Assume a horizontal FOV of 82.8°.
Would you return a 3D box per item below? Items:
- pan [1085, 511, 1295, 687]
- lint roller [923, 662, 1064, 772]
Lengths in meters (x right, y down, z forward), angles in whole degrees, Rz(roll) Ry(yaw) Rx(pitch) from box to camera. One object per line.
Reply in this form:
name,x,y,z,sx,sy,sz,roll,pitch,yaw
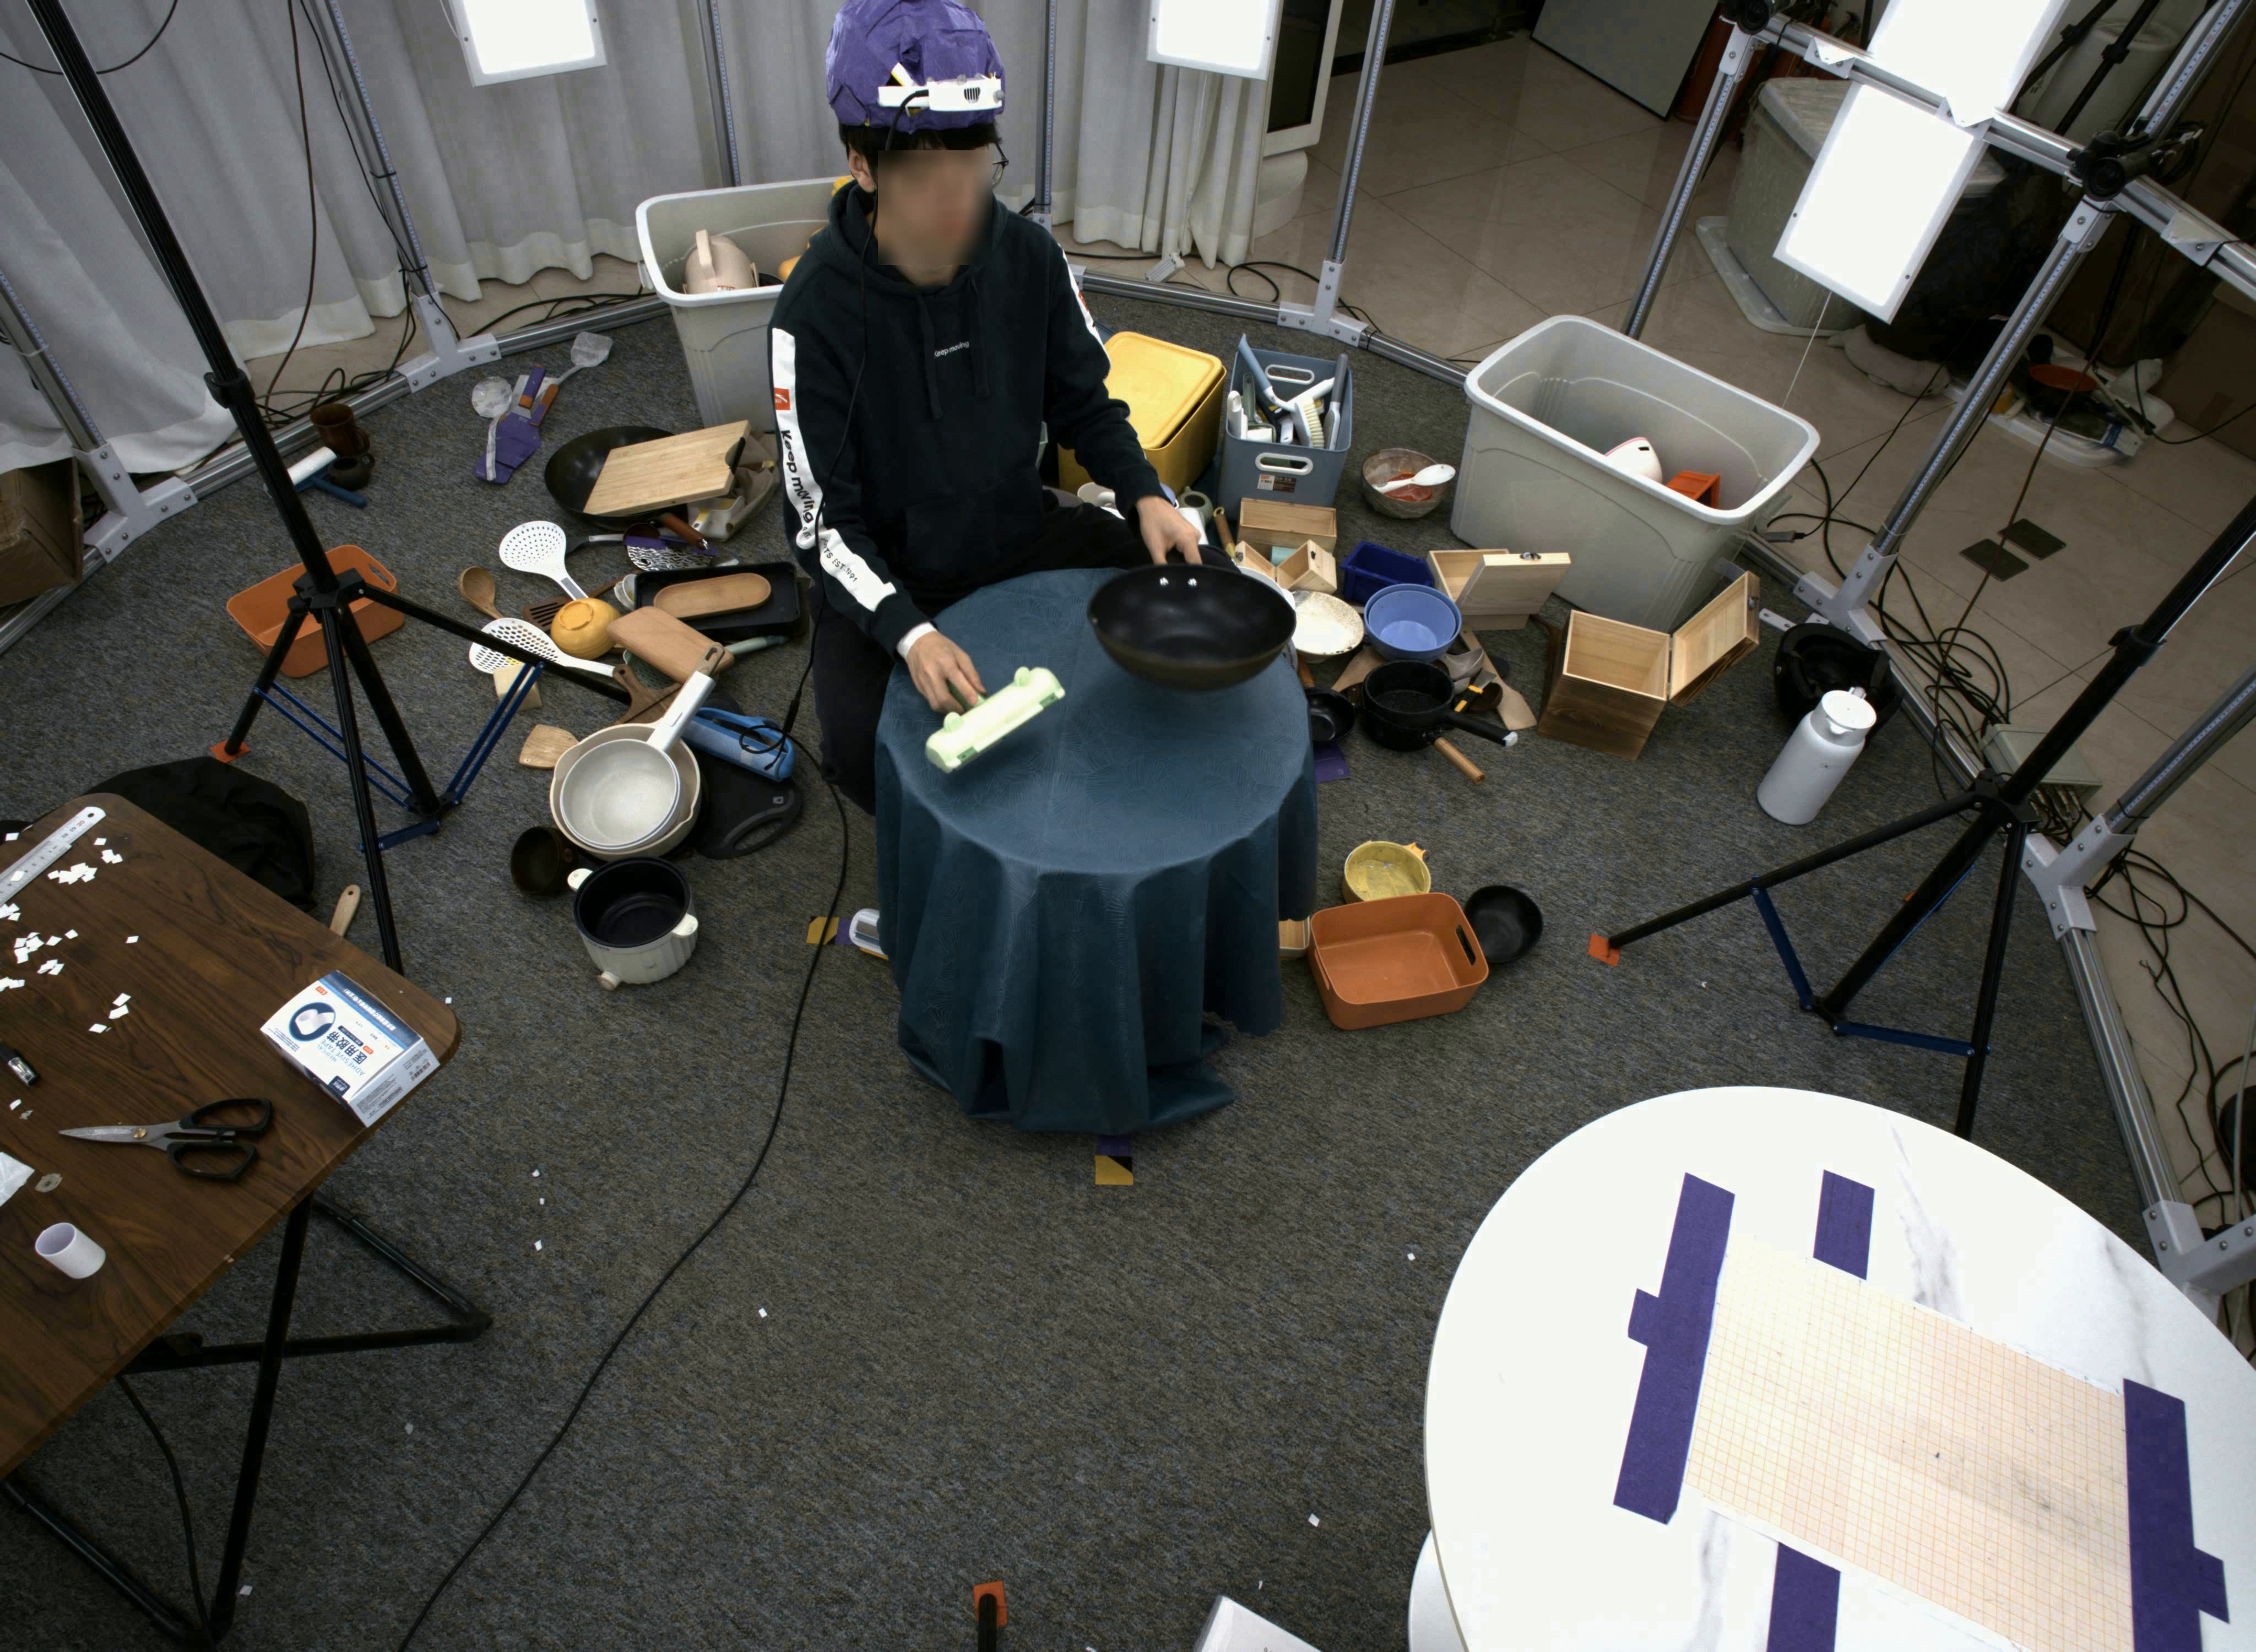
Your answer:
pan,0.071,-0.320,1.829,0.287,0.085,0.474,0,36,-9
lint roller,-0.213,-0.182,1.710,0.200,0.080,0.186,-36,61,-21
